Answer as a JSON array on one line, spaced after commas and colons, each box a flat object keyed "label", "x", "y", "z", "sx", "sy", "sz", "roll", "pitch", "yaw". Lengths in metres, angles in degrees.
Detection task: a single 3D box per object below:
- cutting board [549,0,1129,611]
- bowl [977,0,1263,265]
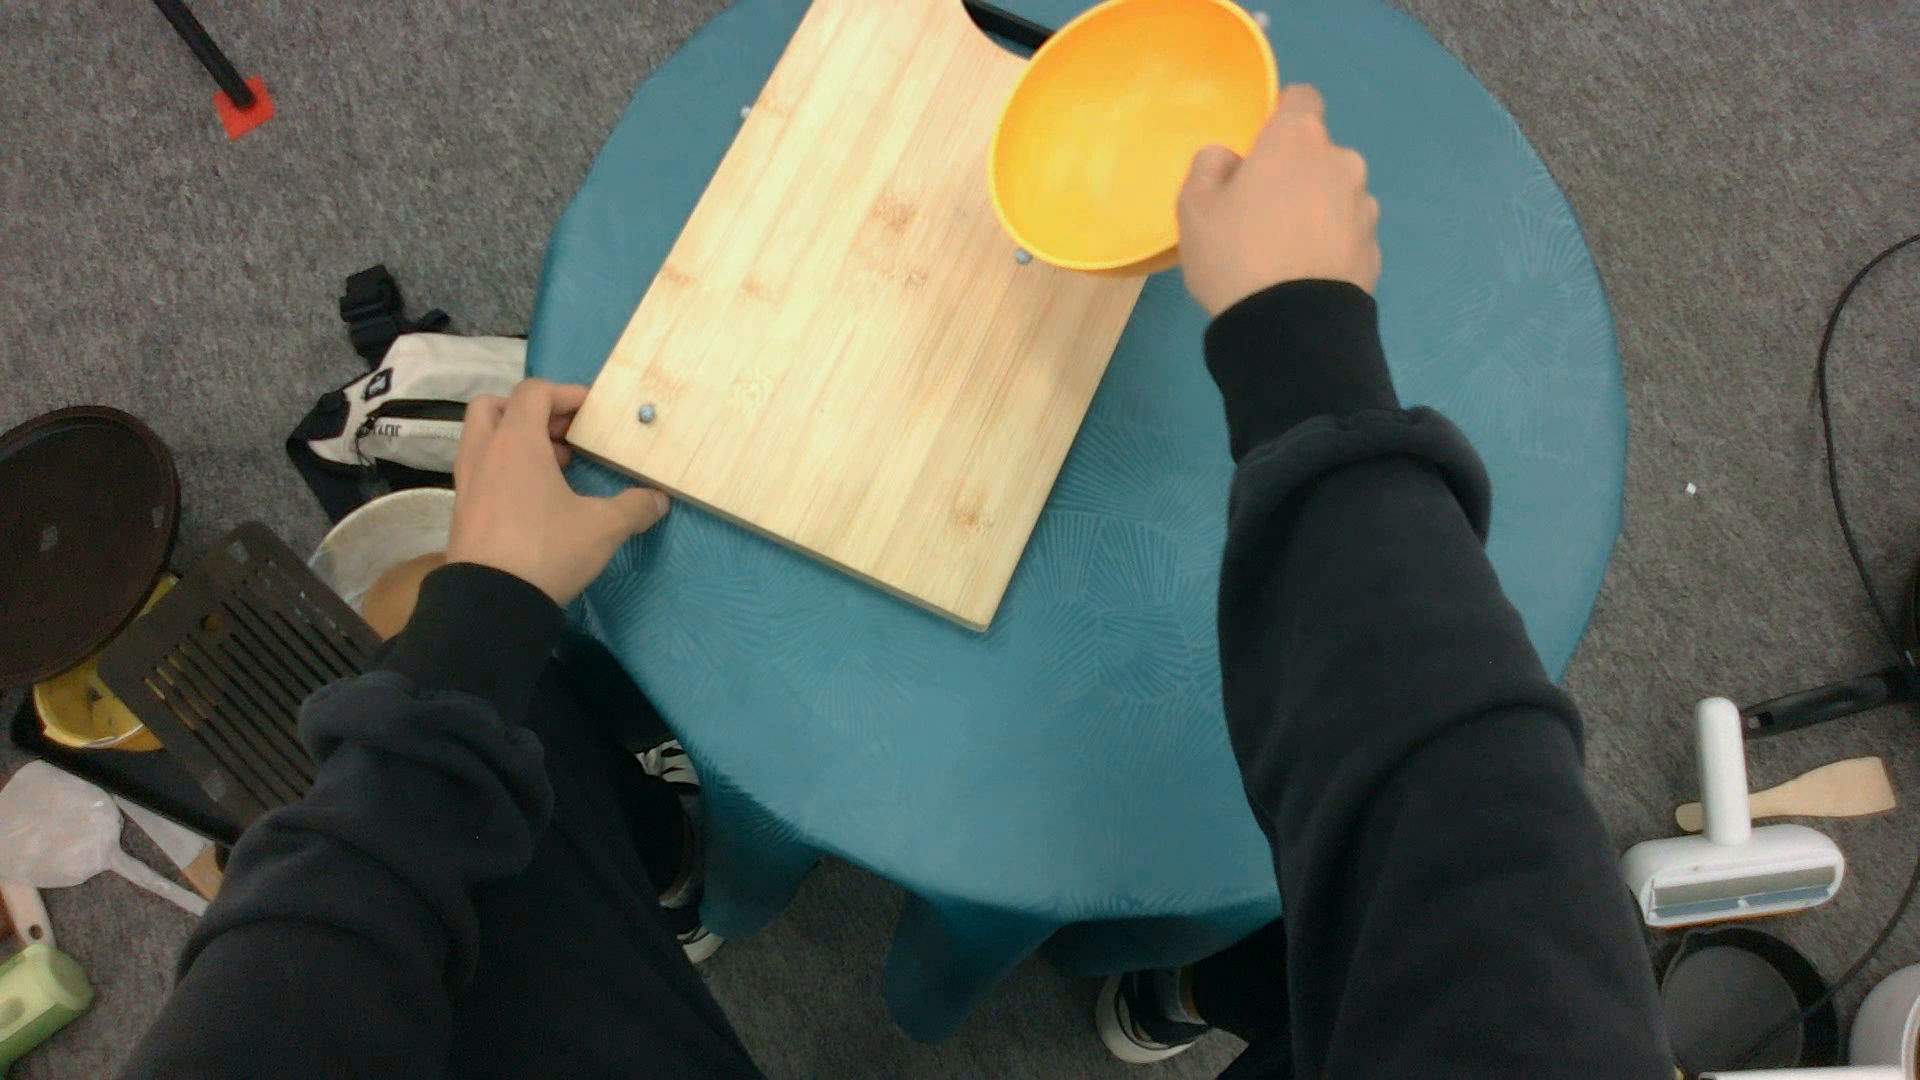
[{"label": "cutting board", "x": -0.035, "y": -0.161, "z": 0.759, "sx": 0.251, "sy": 0.023, "sz": 0.349, "roll": 23, "pitch": 72, "yaw": 3}, {"label": "bowl", "x": 0.084, "y": -0.191, "z": 0.666, "sx": 0.145, "sy": 0.060, "sz": 0.145, "roll": -9, "pitch": 70, "yaw": 28}]
